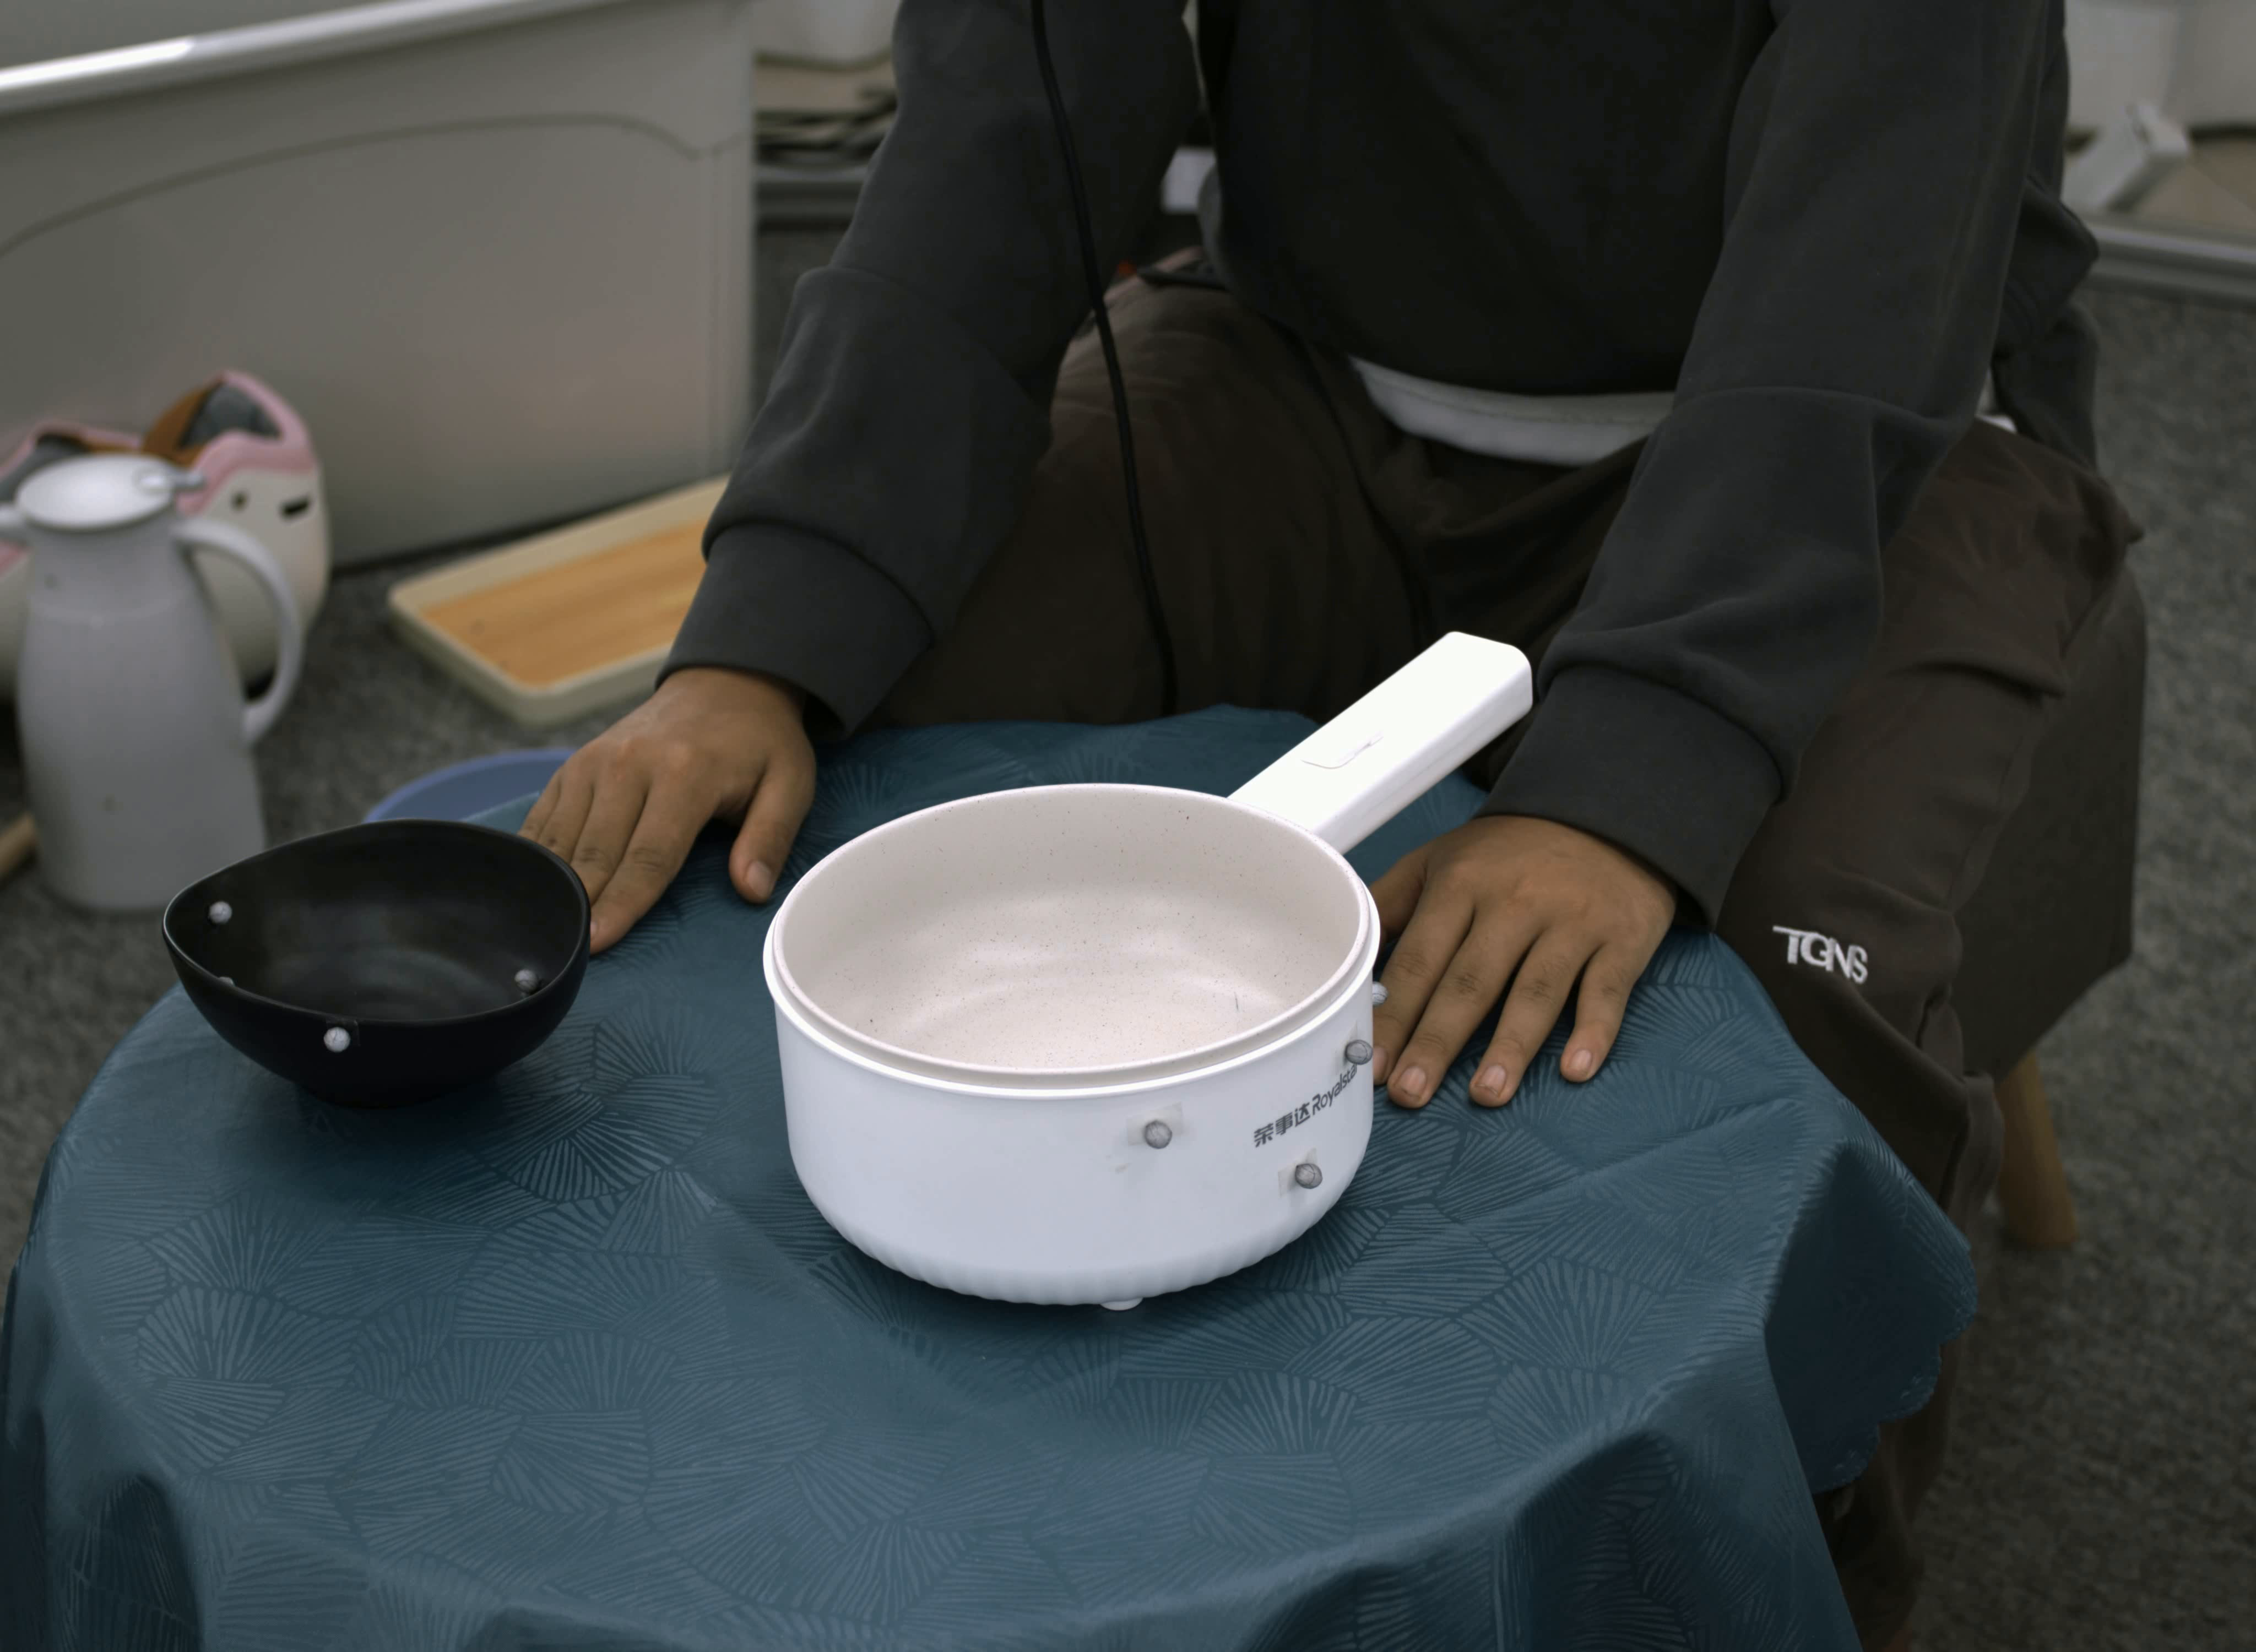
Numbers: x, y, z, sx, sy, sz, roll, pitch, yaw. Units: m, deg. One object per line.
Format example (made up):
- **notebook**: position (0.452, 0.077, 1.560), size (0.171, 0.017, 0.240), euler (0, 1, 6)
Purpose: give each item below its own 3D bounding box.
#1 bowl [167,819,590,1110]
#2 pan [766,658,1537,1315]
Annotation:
- **bowl**: position (-0.258, 0.056, 1.944), size (0.139, 0.066, 0.170), euler (-25, 33, -36)
- **pan**: position (0.028, 0.050, 1.906), size (0.200, 0.101, 0.360), euler (14, 29, 32)
